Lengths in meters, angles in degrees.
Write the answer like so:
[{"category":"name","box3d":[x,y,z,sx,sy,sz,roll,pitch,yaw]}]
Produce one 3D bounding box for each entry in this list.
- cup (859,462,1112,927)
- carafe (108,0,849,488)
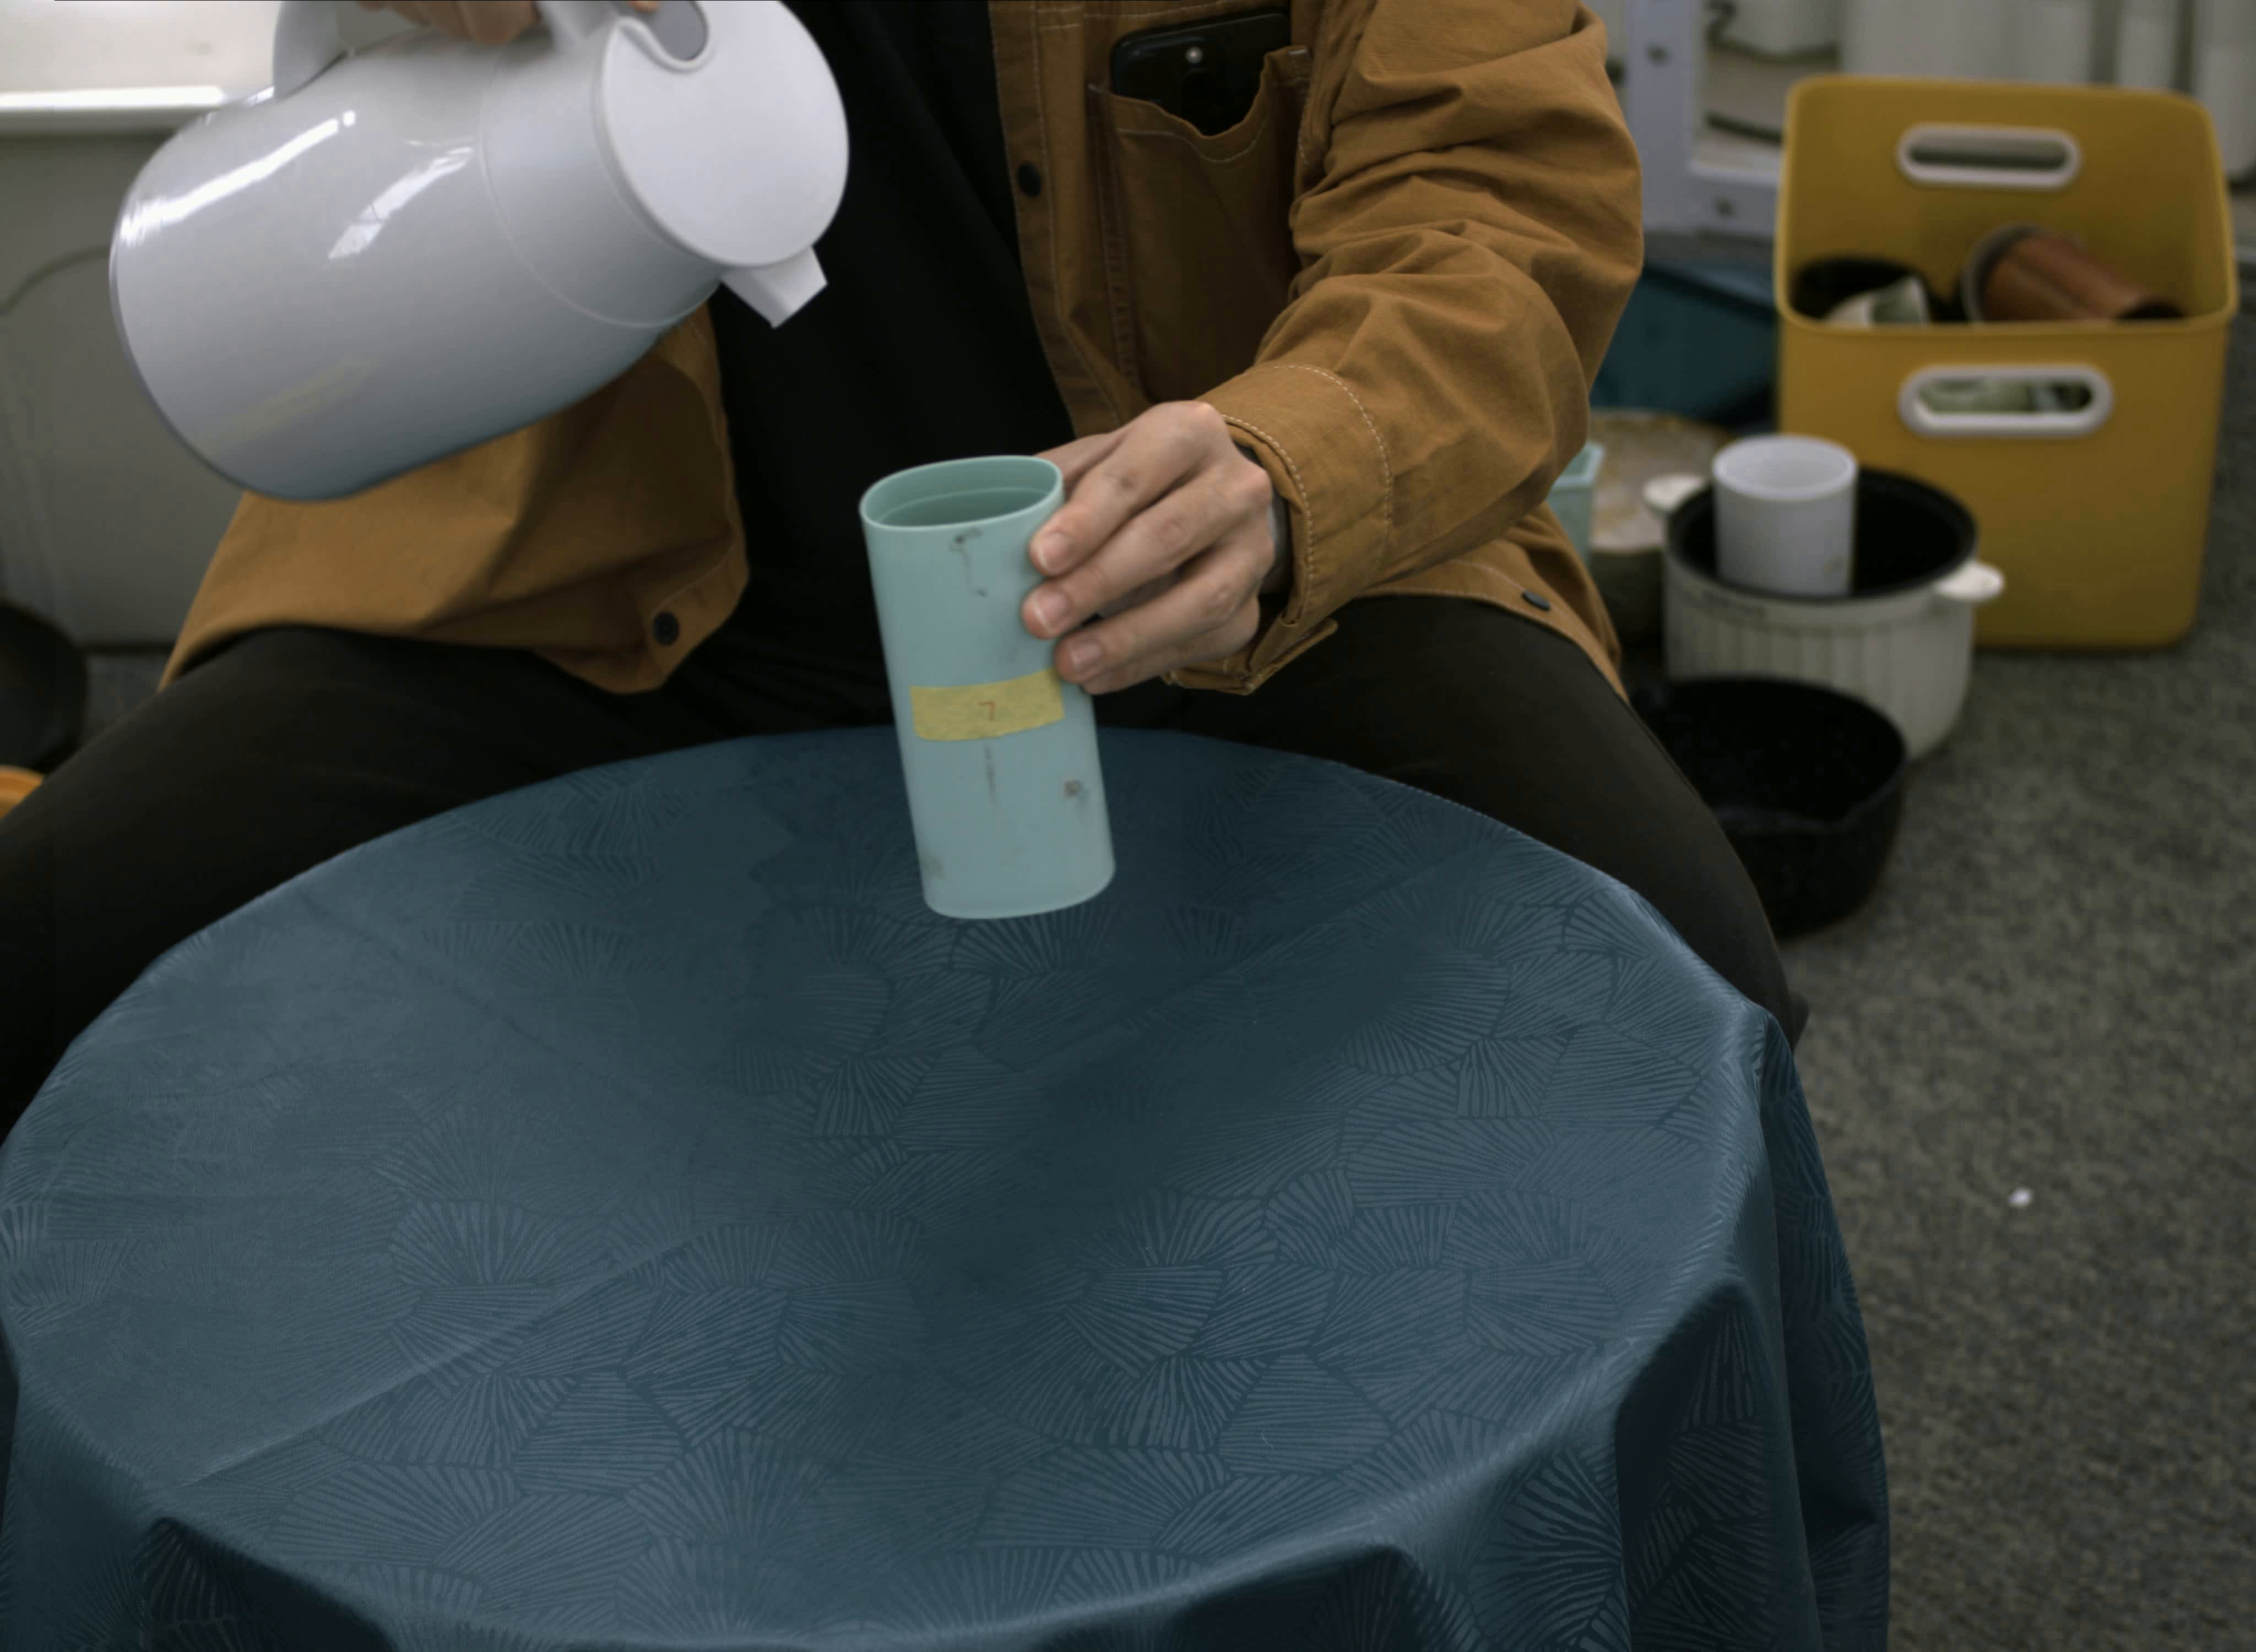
[{"category":"cup","box3d":[-0.043,-0.042,1.744,0.066,0.131,0.067,-7,20,3]},{"category":"carafe","box3d":[-0.206,-0.208,1.749,0.245,0.167,0.135,-14,25,46]}]
